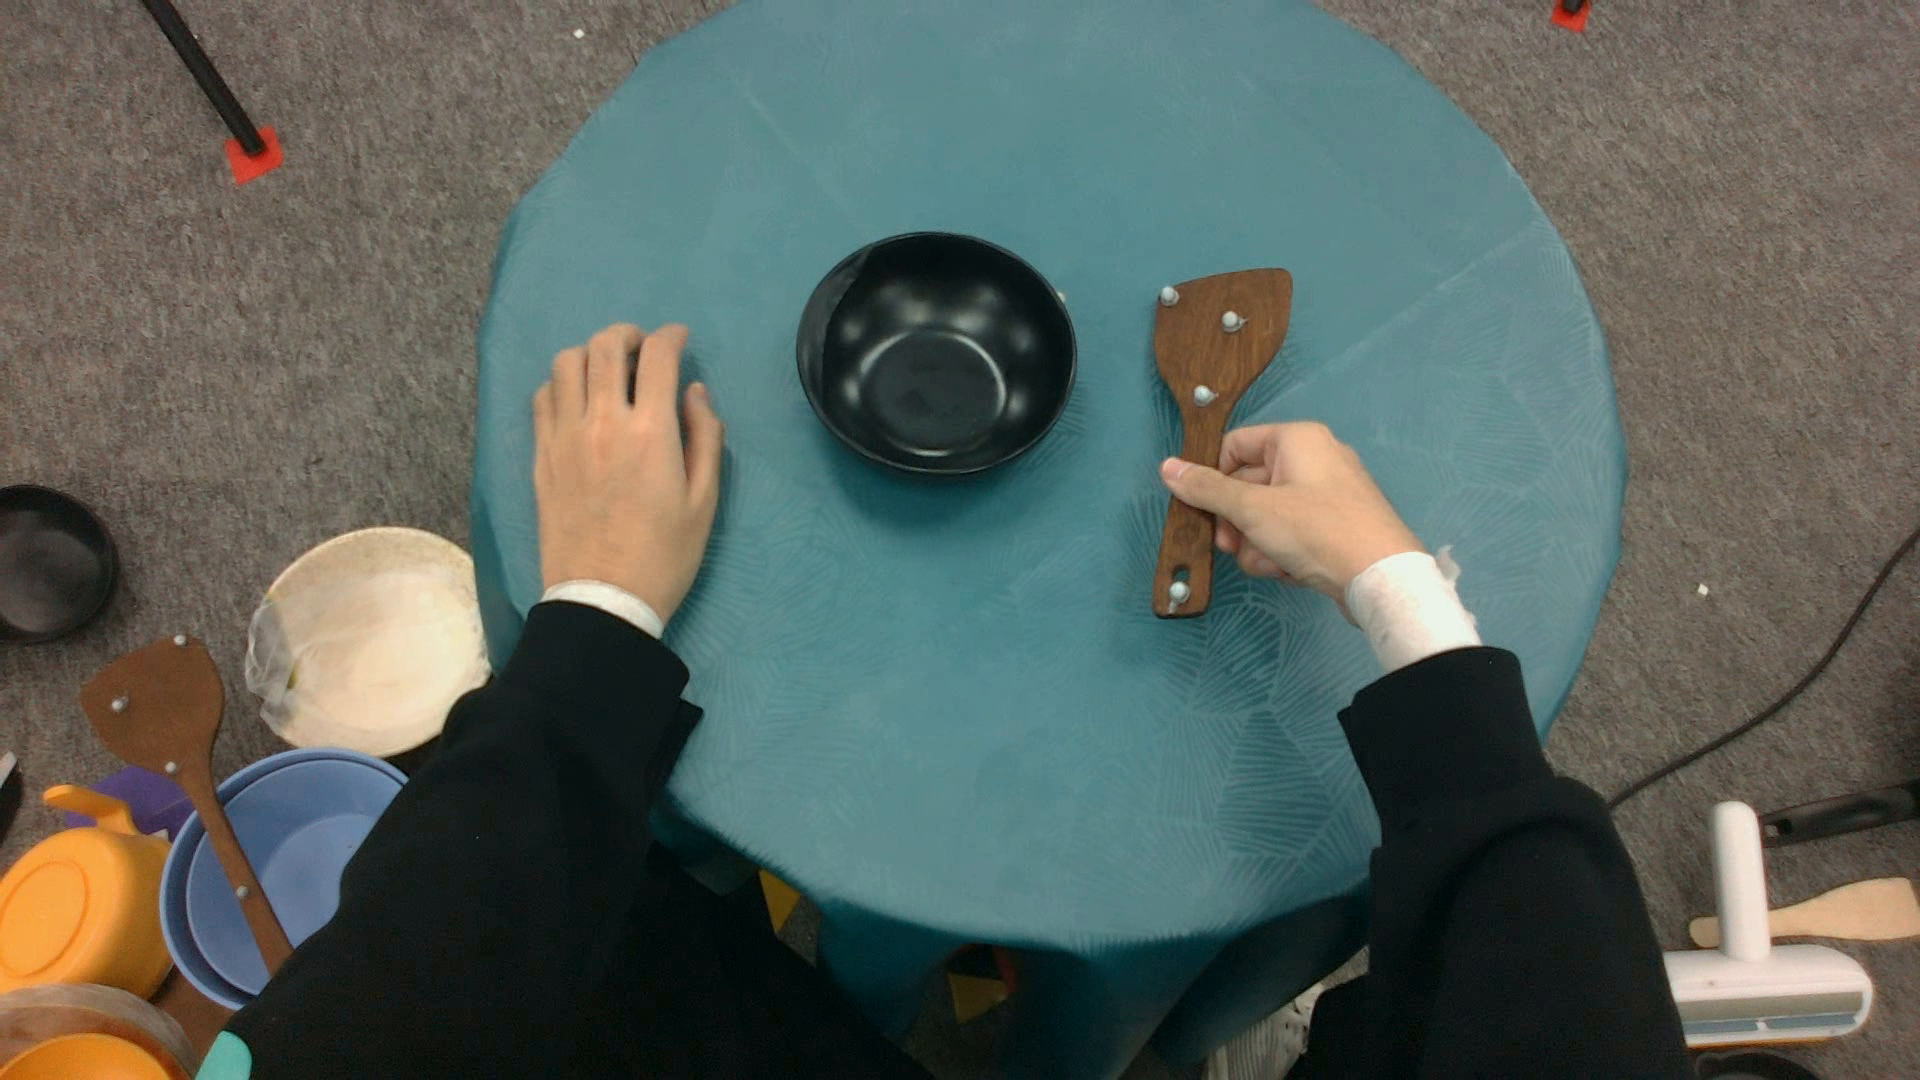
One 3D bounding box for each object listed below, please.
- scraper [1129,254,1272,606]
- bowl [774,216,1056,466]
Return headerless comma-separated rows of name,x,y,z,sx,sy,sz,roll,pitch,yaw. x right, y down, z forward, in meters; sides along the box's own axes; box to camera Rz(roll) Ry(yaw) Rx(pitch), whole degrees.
scraper,0.110,-0.059,0.680,0.075,0.011,0.212,-4,55,26
bowl,-0.024,-0.093,0.692,0.140,0.049,0.140,3,65,-6
